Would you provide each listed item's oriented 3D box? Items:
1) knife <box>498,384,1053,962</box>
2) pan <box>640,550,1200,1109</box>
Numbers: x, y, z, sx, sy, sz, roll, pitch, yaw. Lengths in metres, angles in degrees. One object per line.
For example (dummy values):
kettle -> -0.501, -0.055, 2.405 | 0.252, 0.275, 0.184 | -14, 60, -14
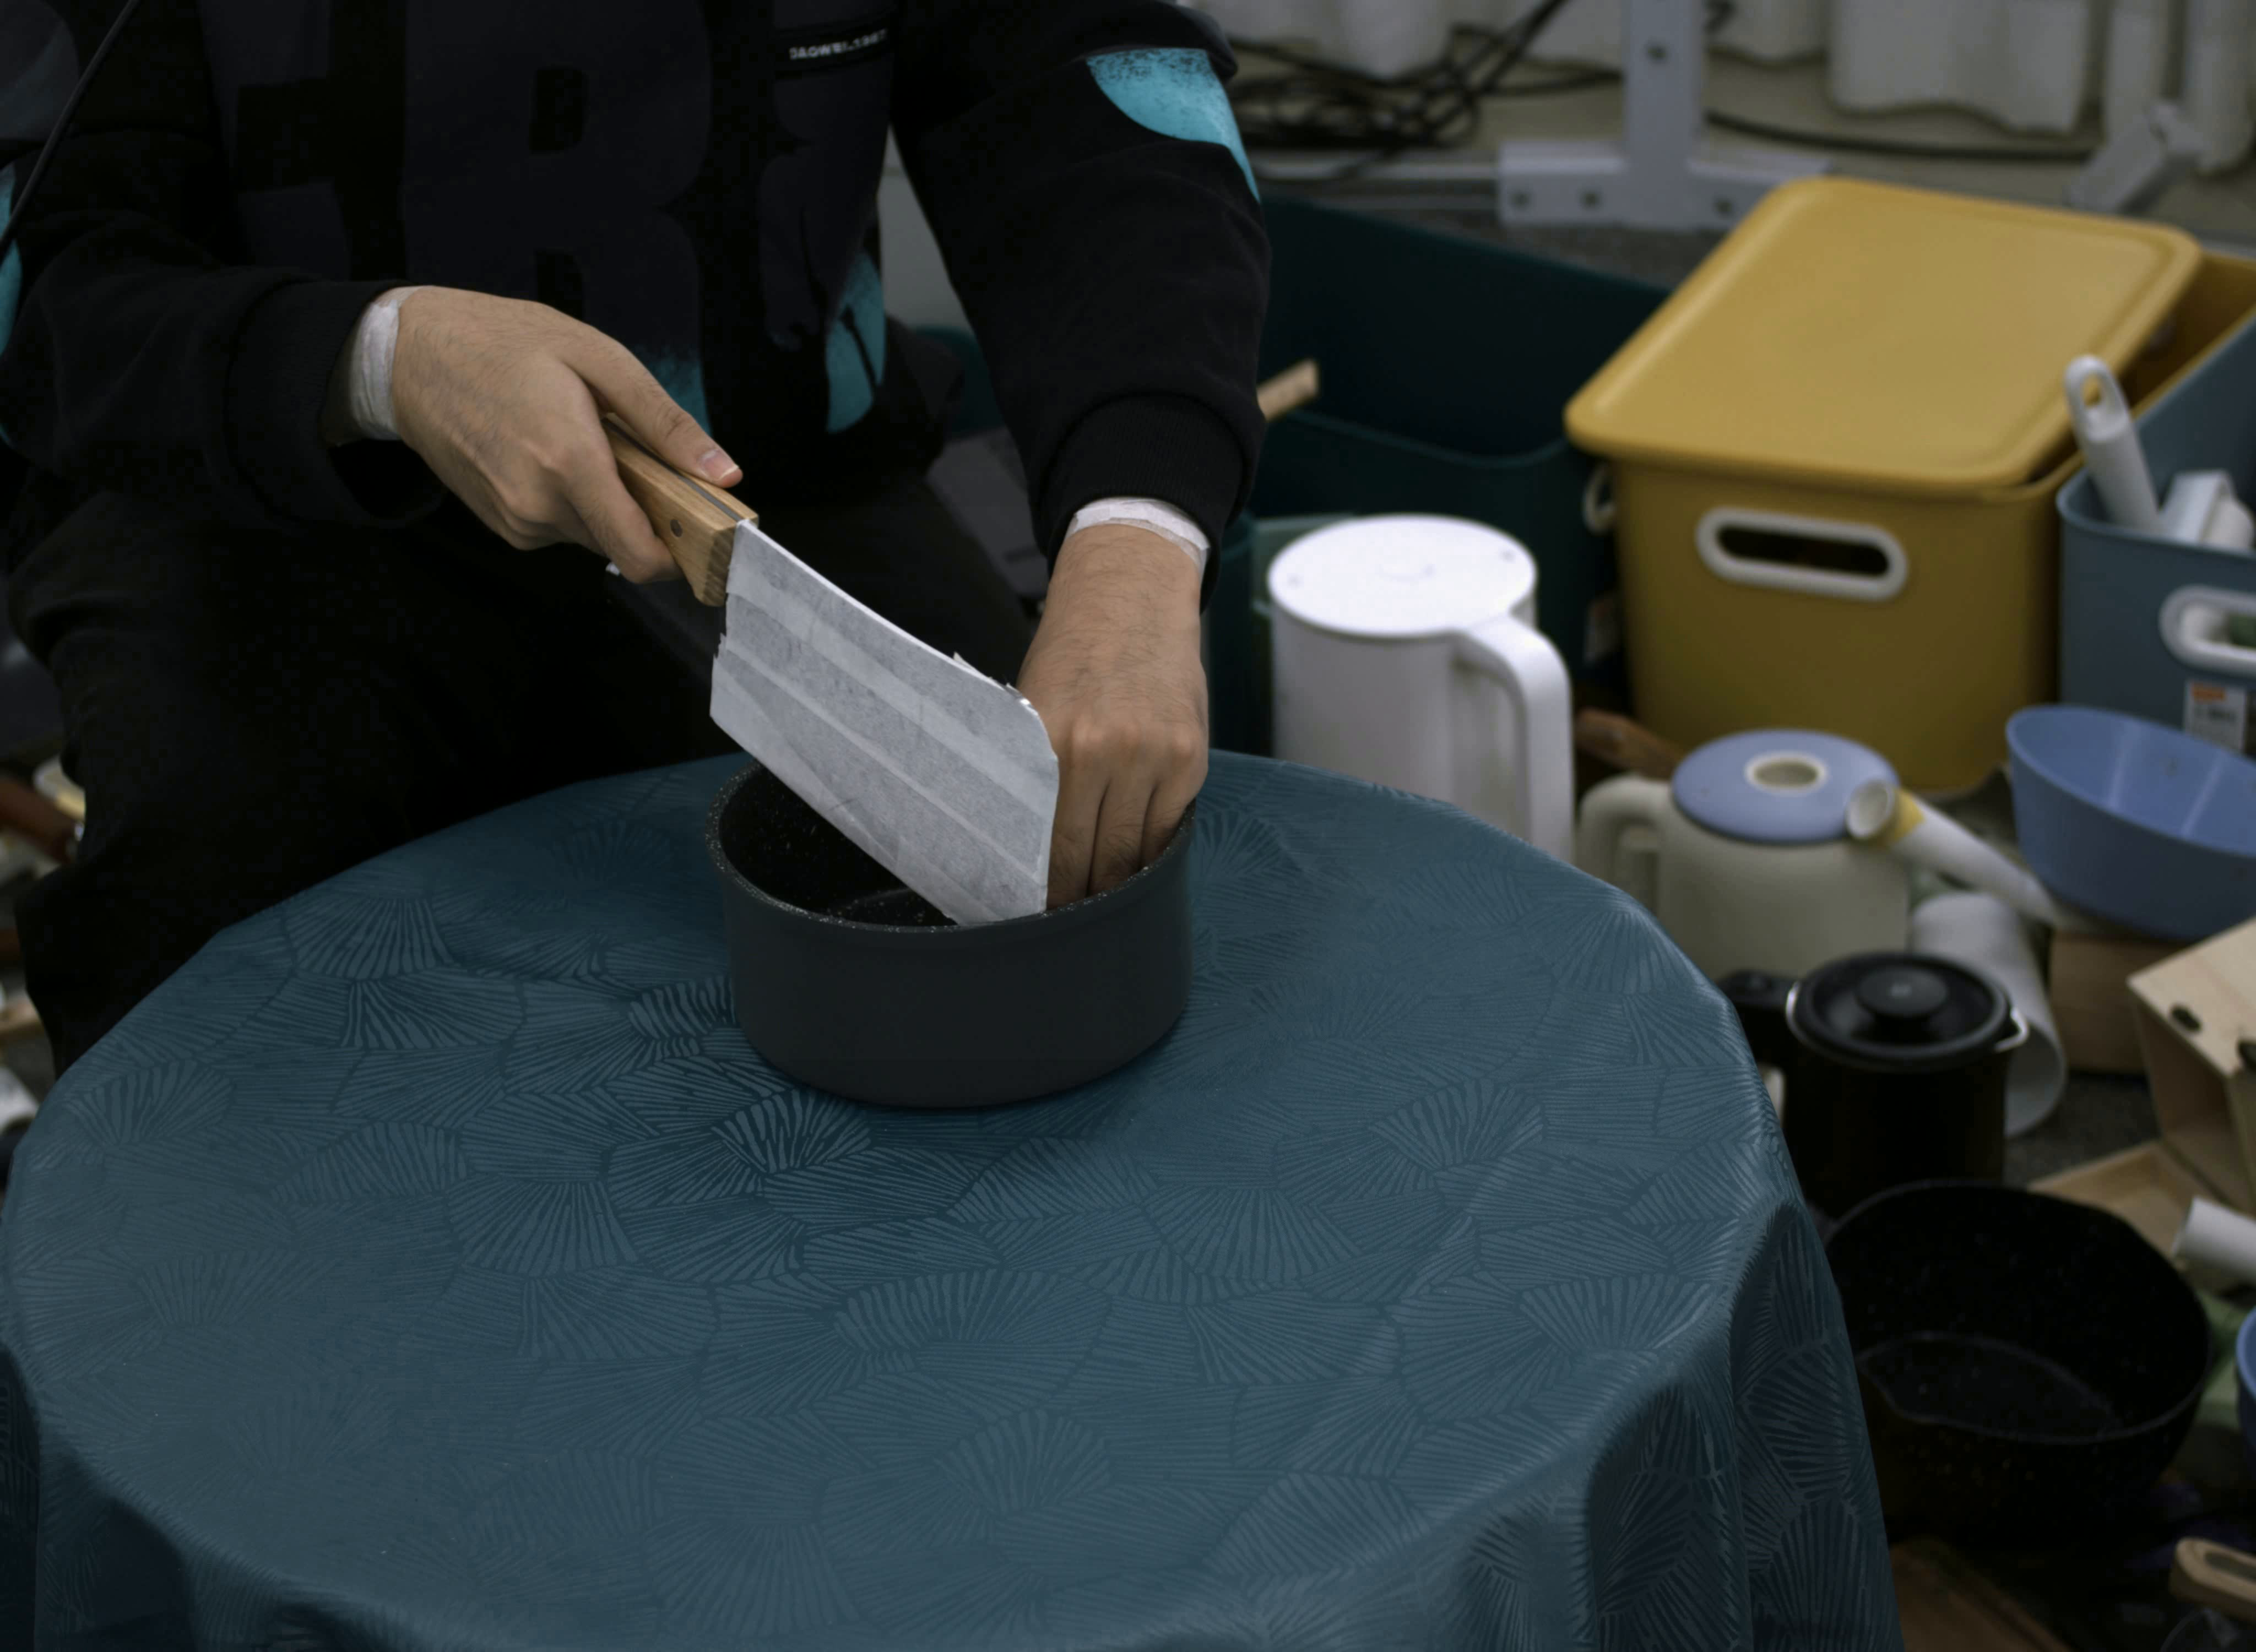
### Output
knife -> -0.123, -0.068, 1.962 | 0.022, 0.112, 0.317 | -18, 44, -38
pan -> -0.097, -0.005, 2.026 | 0.173, 0.085, 0.330 | -14, 30, -25
